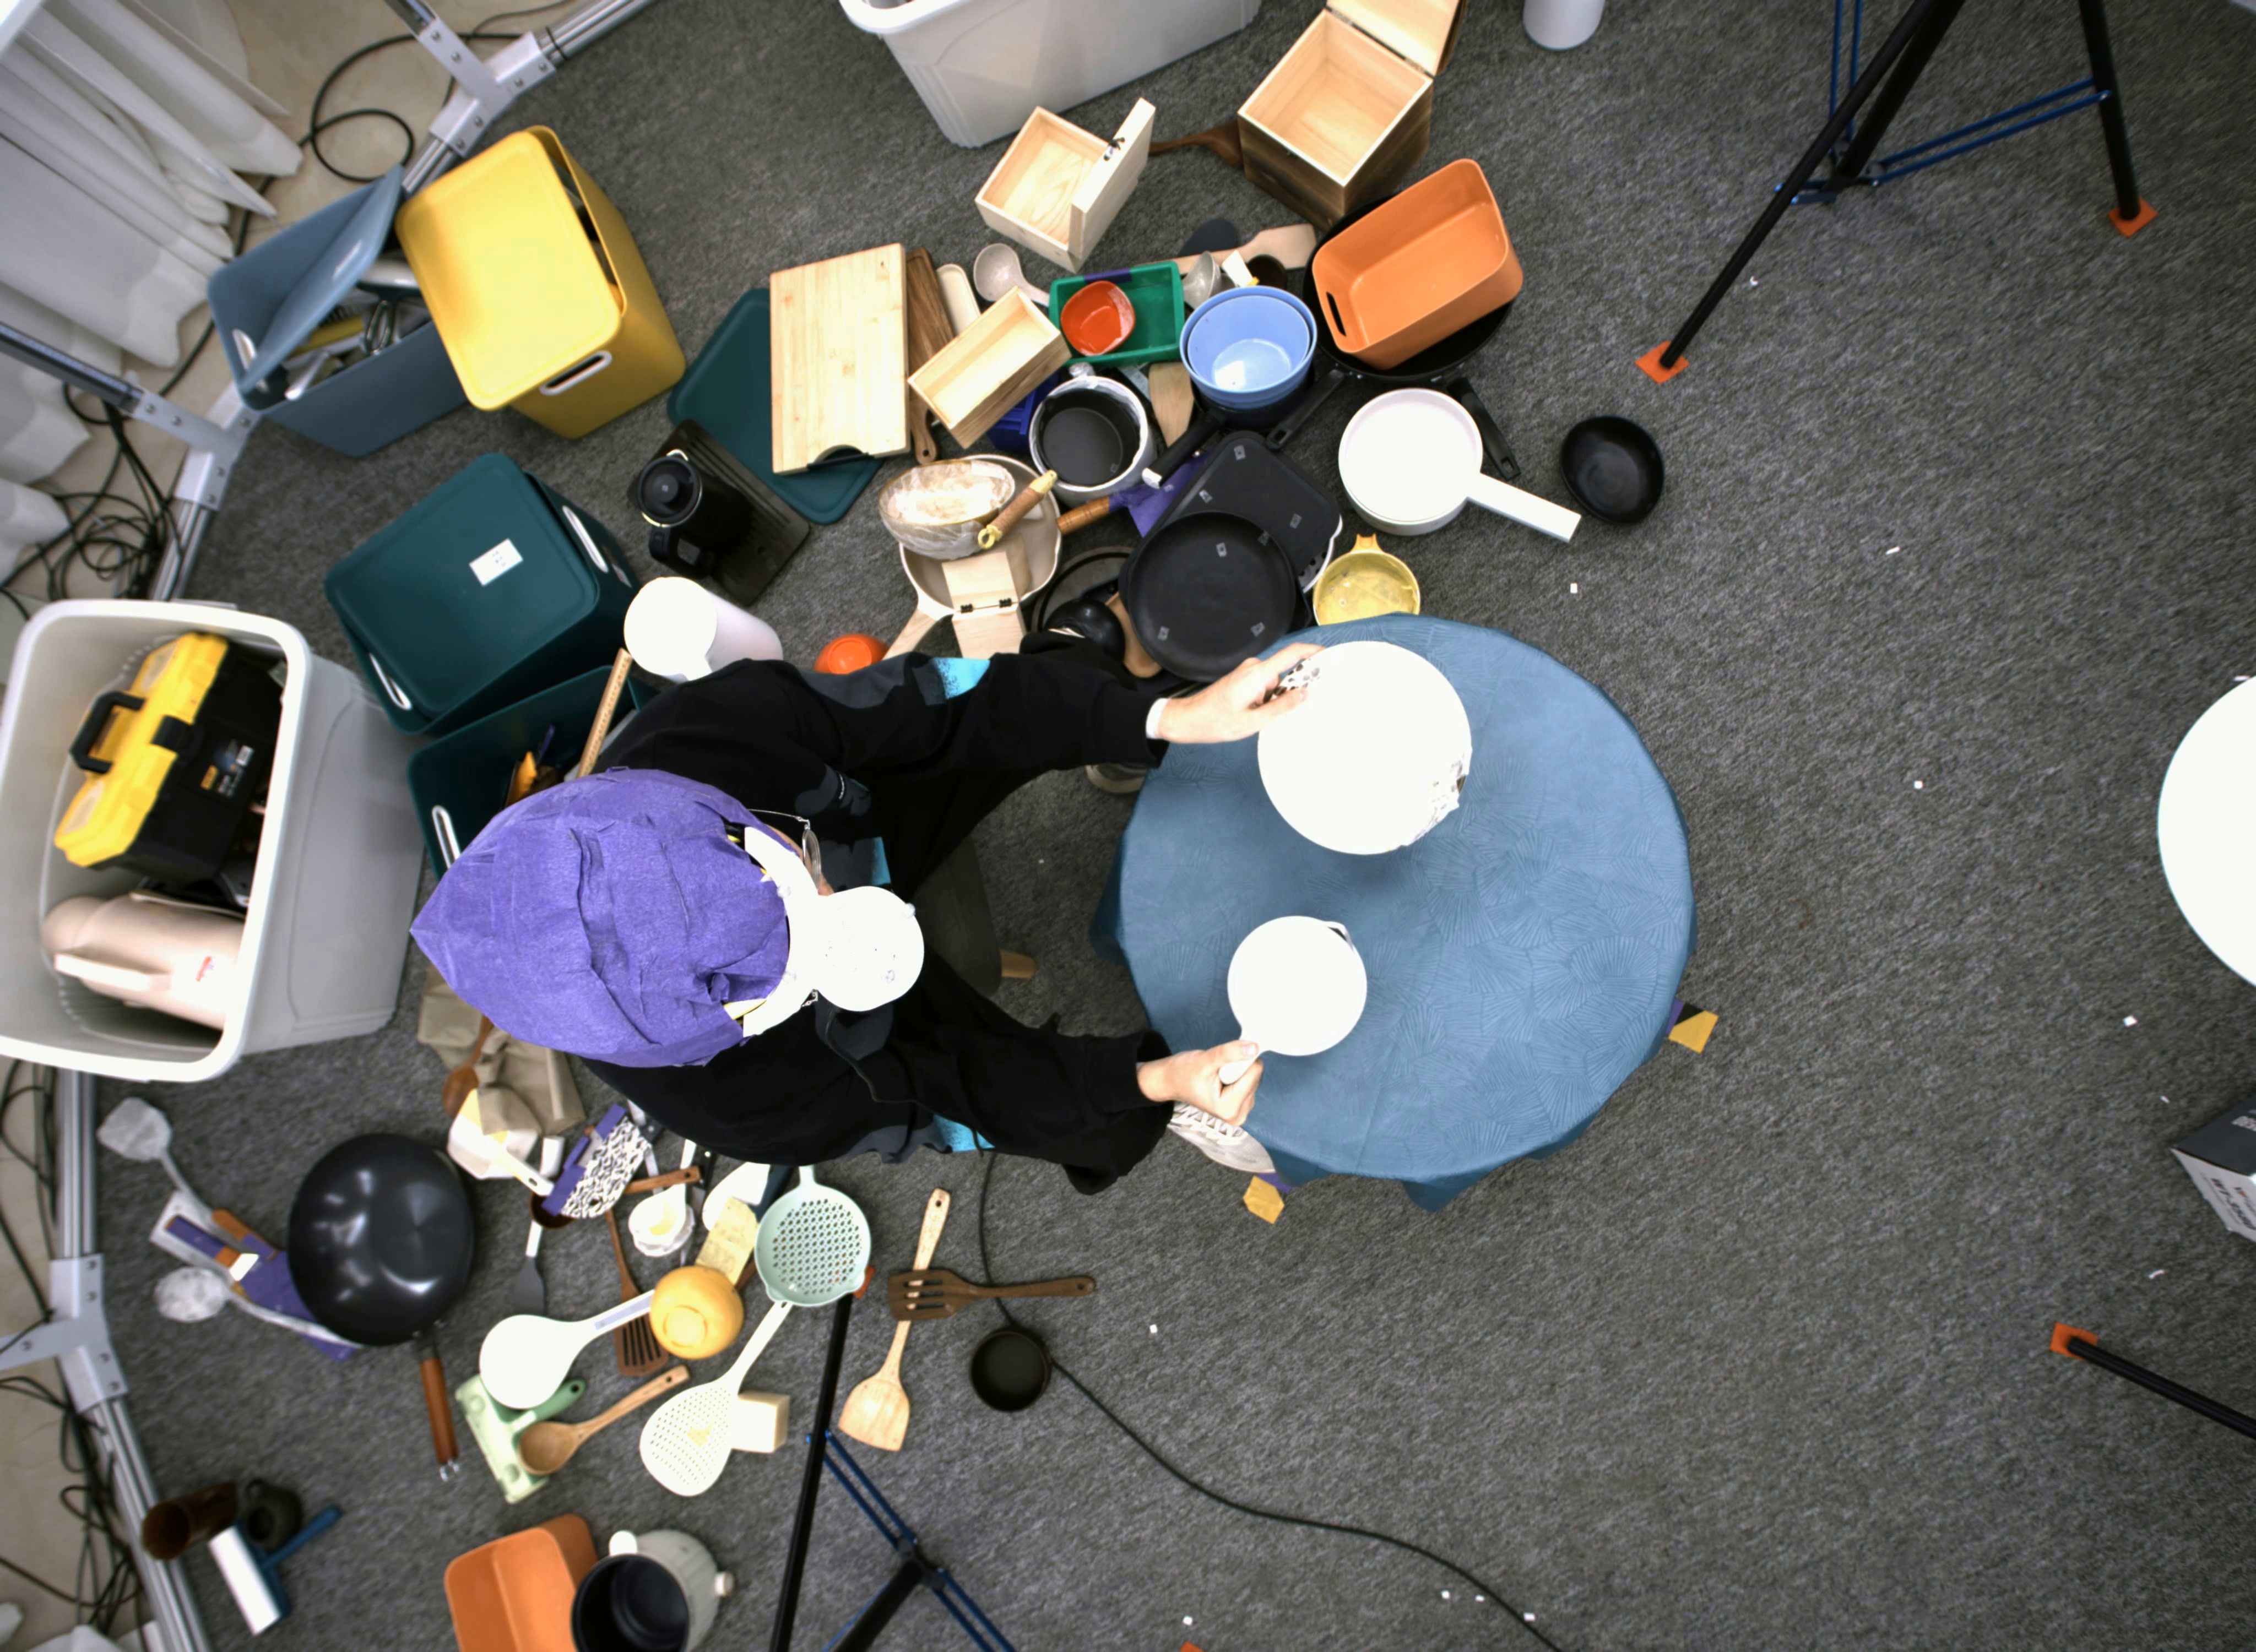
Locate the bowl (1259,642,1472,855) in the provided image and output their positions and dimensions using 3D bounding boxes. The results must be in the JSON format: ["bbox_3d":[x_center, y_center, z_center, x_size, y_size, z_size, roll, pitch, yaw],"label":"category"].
[{"bbox_3d":[0.236,-0.077,1.348,0.205,0.077,0.205,2,96,18],"label":"bowl"}]

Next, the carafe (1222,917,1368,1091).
[{"bbox_3d":[0.149,0.176,1.346,0.132,0.183,0.191,36,91,10],"label":"carafe"}]
